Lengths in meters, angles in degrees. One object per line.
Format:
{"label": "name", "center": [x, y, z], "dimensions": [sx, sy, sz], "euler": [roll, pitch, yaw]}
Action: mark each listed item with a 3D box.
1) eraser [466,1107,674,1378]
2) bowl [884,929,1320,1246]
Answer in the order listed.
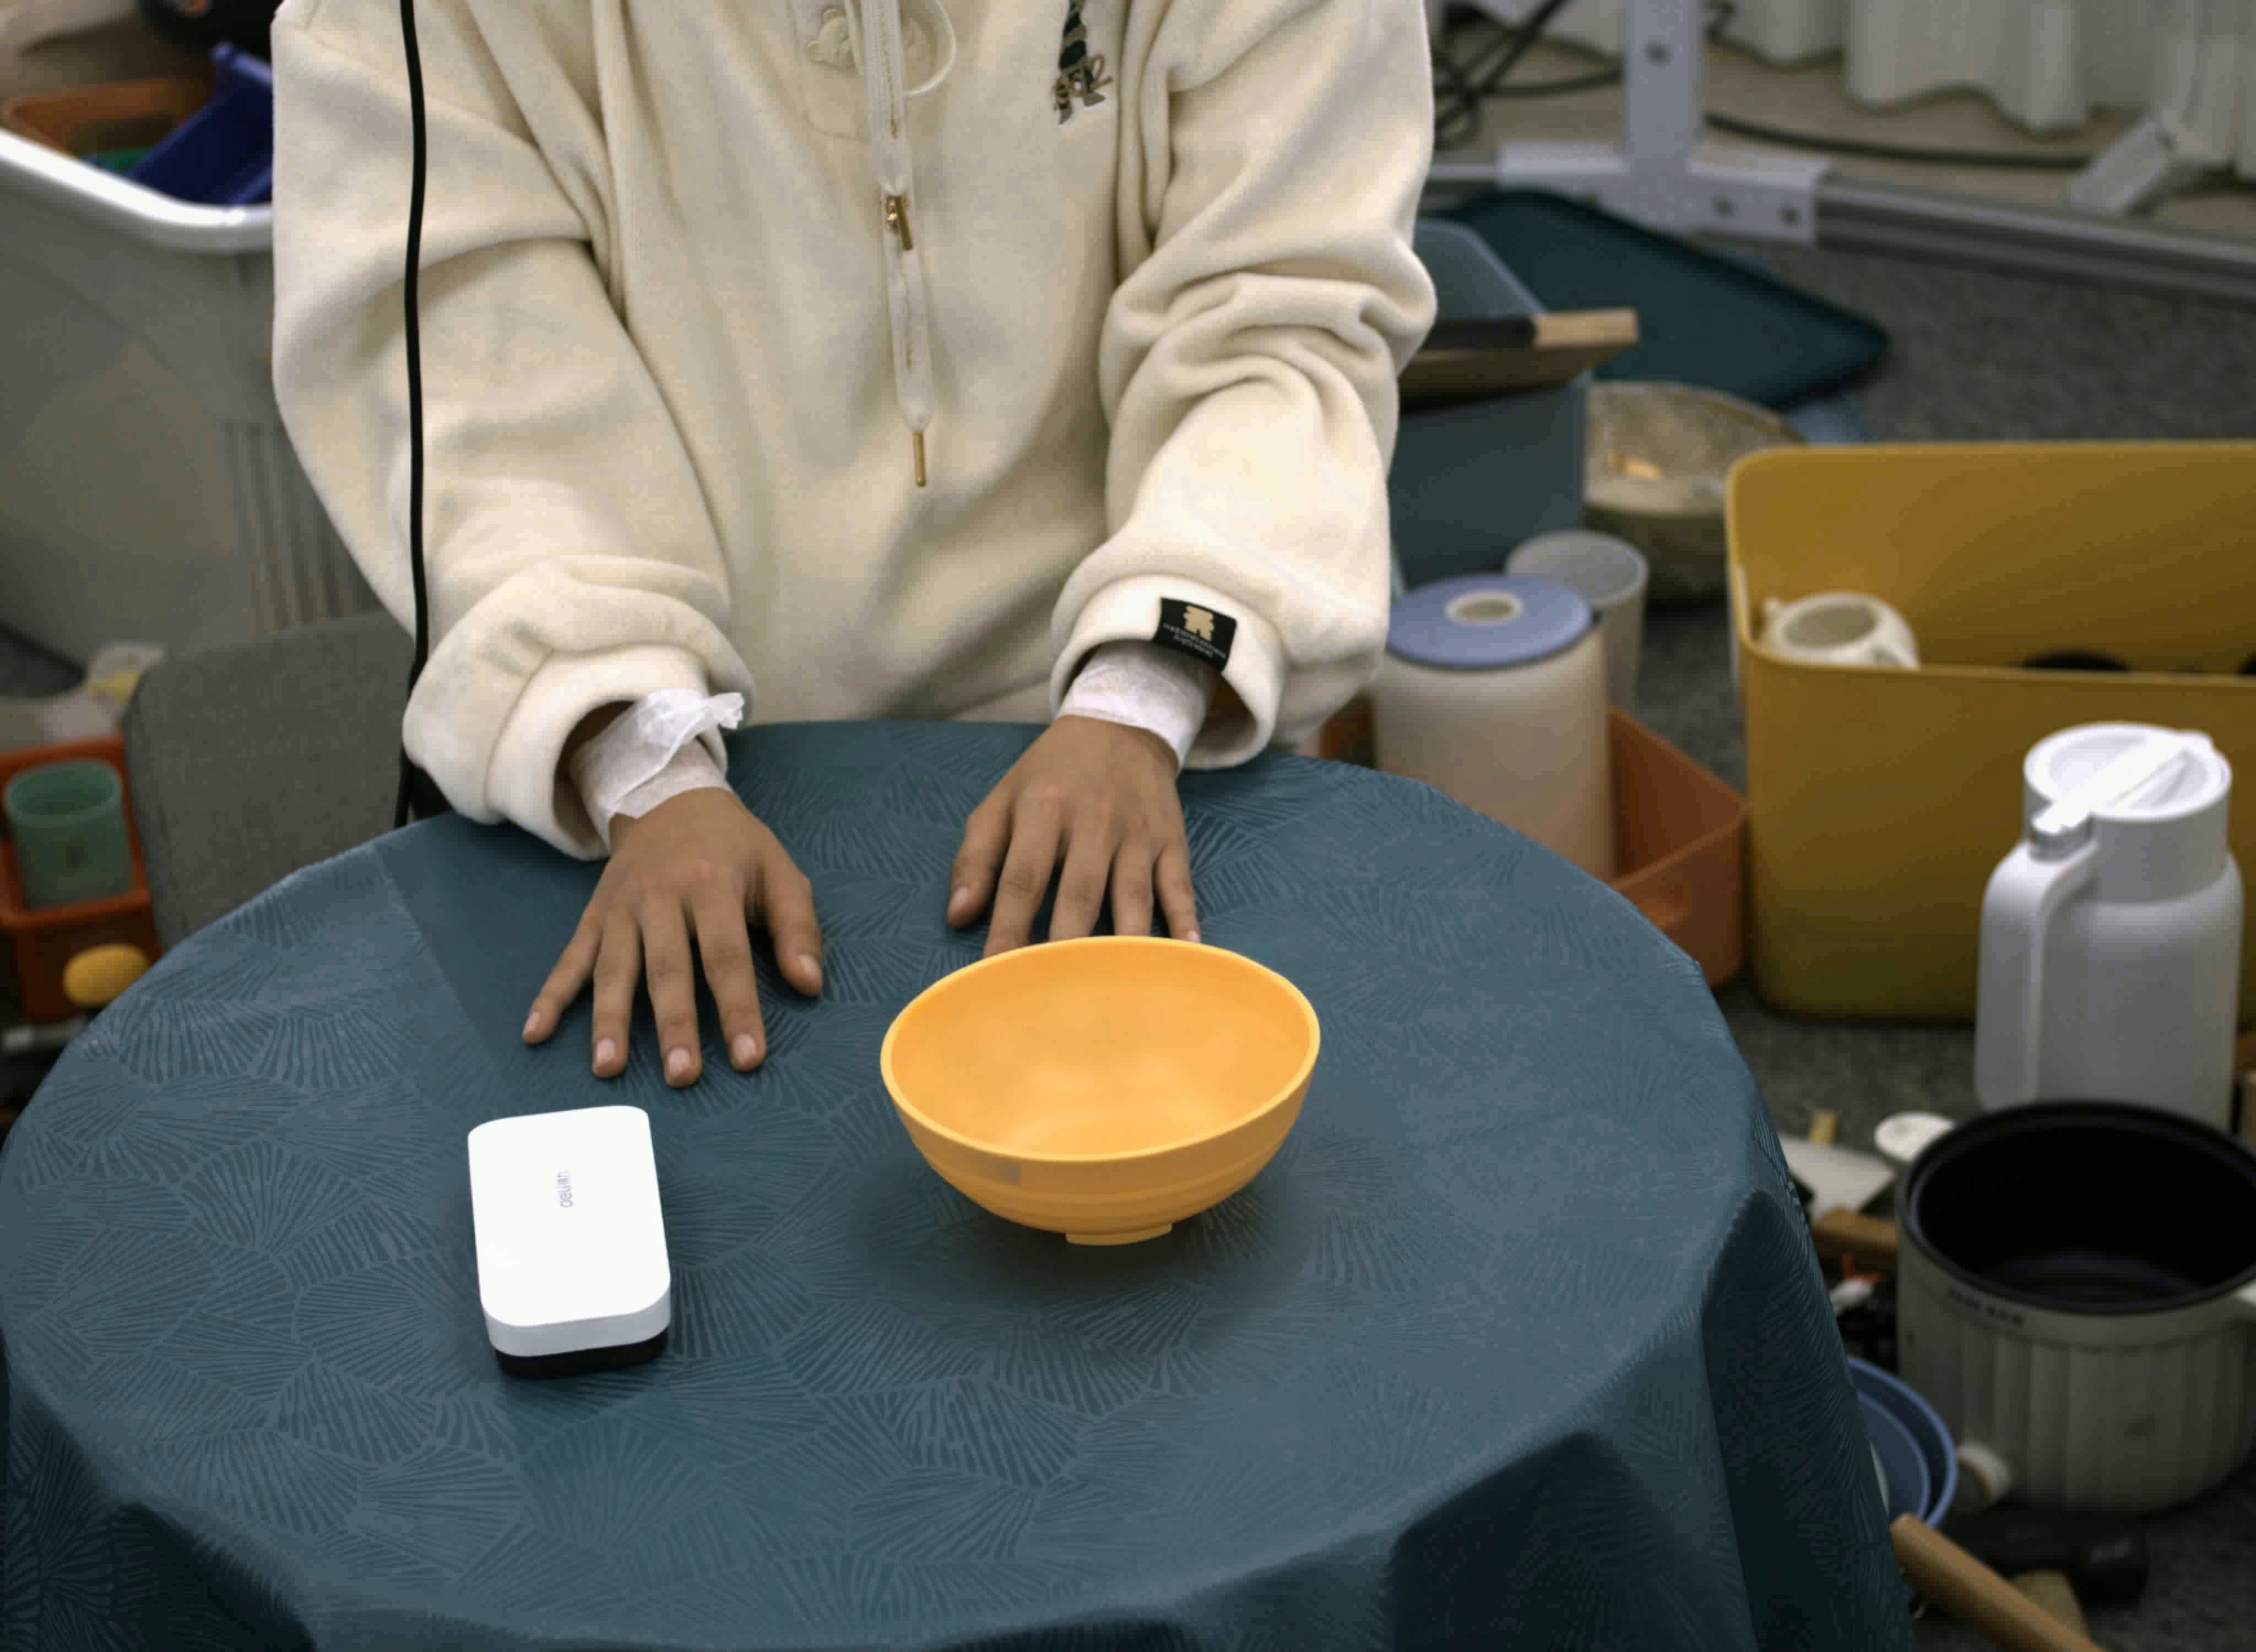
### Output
{"label": "eraser", "center": [-0.181, 0.132, 1.826], "dimensions": [0.063, 0.034, 0.133], "euler": [-5, 28, -7]}
{"label": "bowl", "center": [-0.007, 0.096, 1.850], "dimensions": [0.144, 0.059, 0.147], "euler": [-3, 29, 2]}
